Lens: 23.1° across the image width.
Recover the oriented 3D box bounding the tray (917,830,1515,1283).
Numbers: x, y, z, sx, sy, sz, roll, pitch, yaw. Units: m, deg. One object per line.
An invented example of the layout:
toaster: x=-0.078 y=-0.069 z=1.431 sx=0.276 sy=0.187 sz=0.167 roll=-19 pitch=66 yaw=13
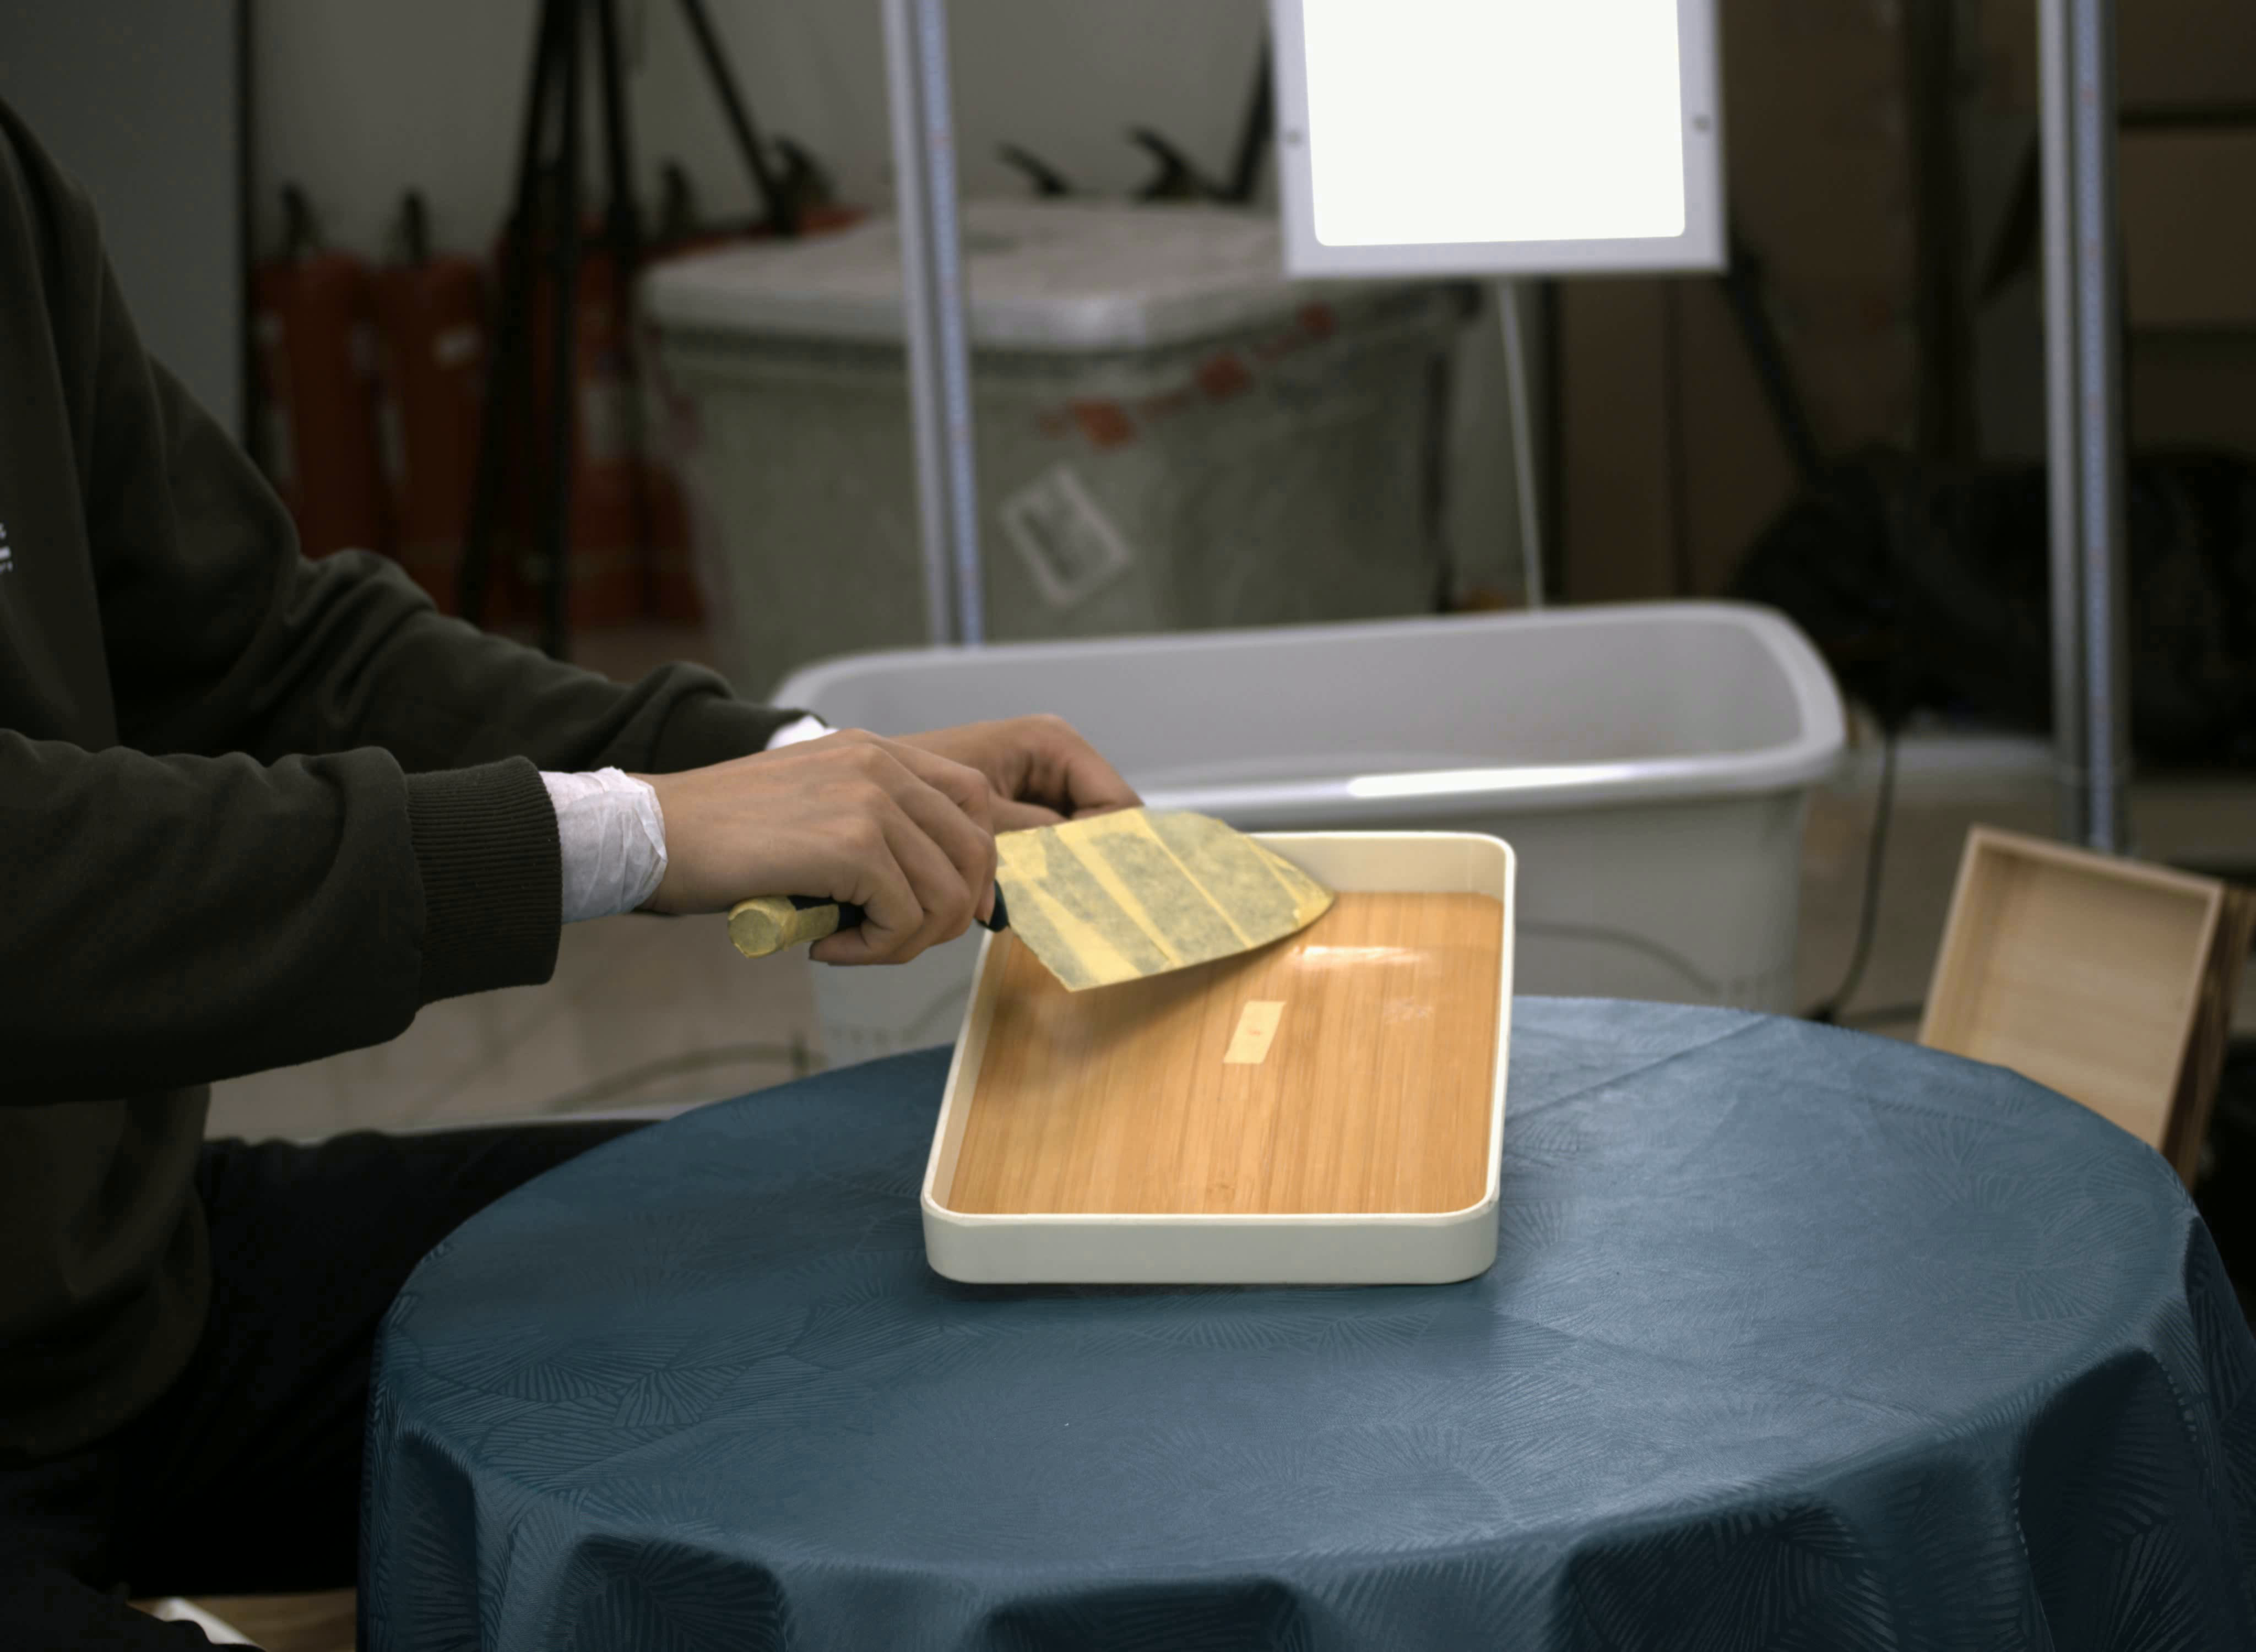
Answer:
tray: x=0.037 y=0.076 z=1.915 sx=0.192 sy=0.027 sz=0.298 roll=-2 pitch=24 yaw=7

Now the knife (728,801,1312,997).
knife: x=-0.030 y=0.030 z=1.936 sx=0.282 sy=0.027 sz=0.082 roll=-11 pitch=50 yaw=-47
